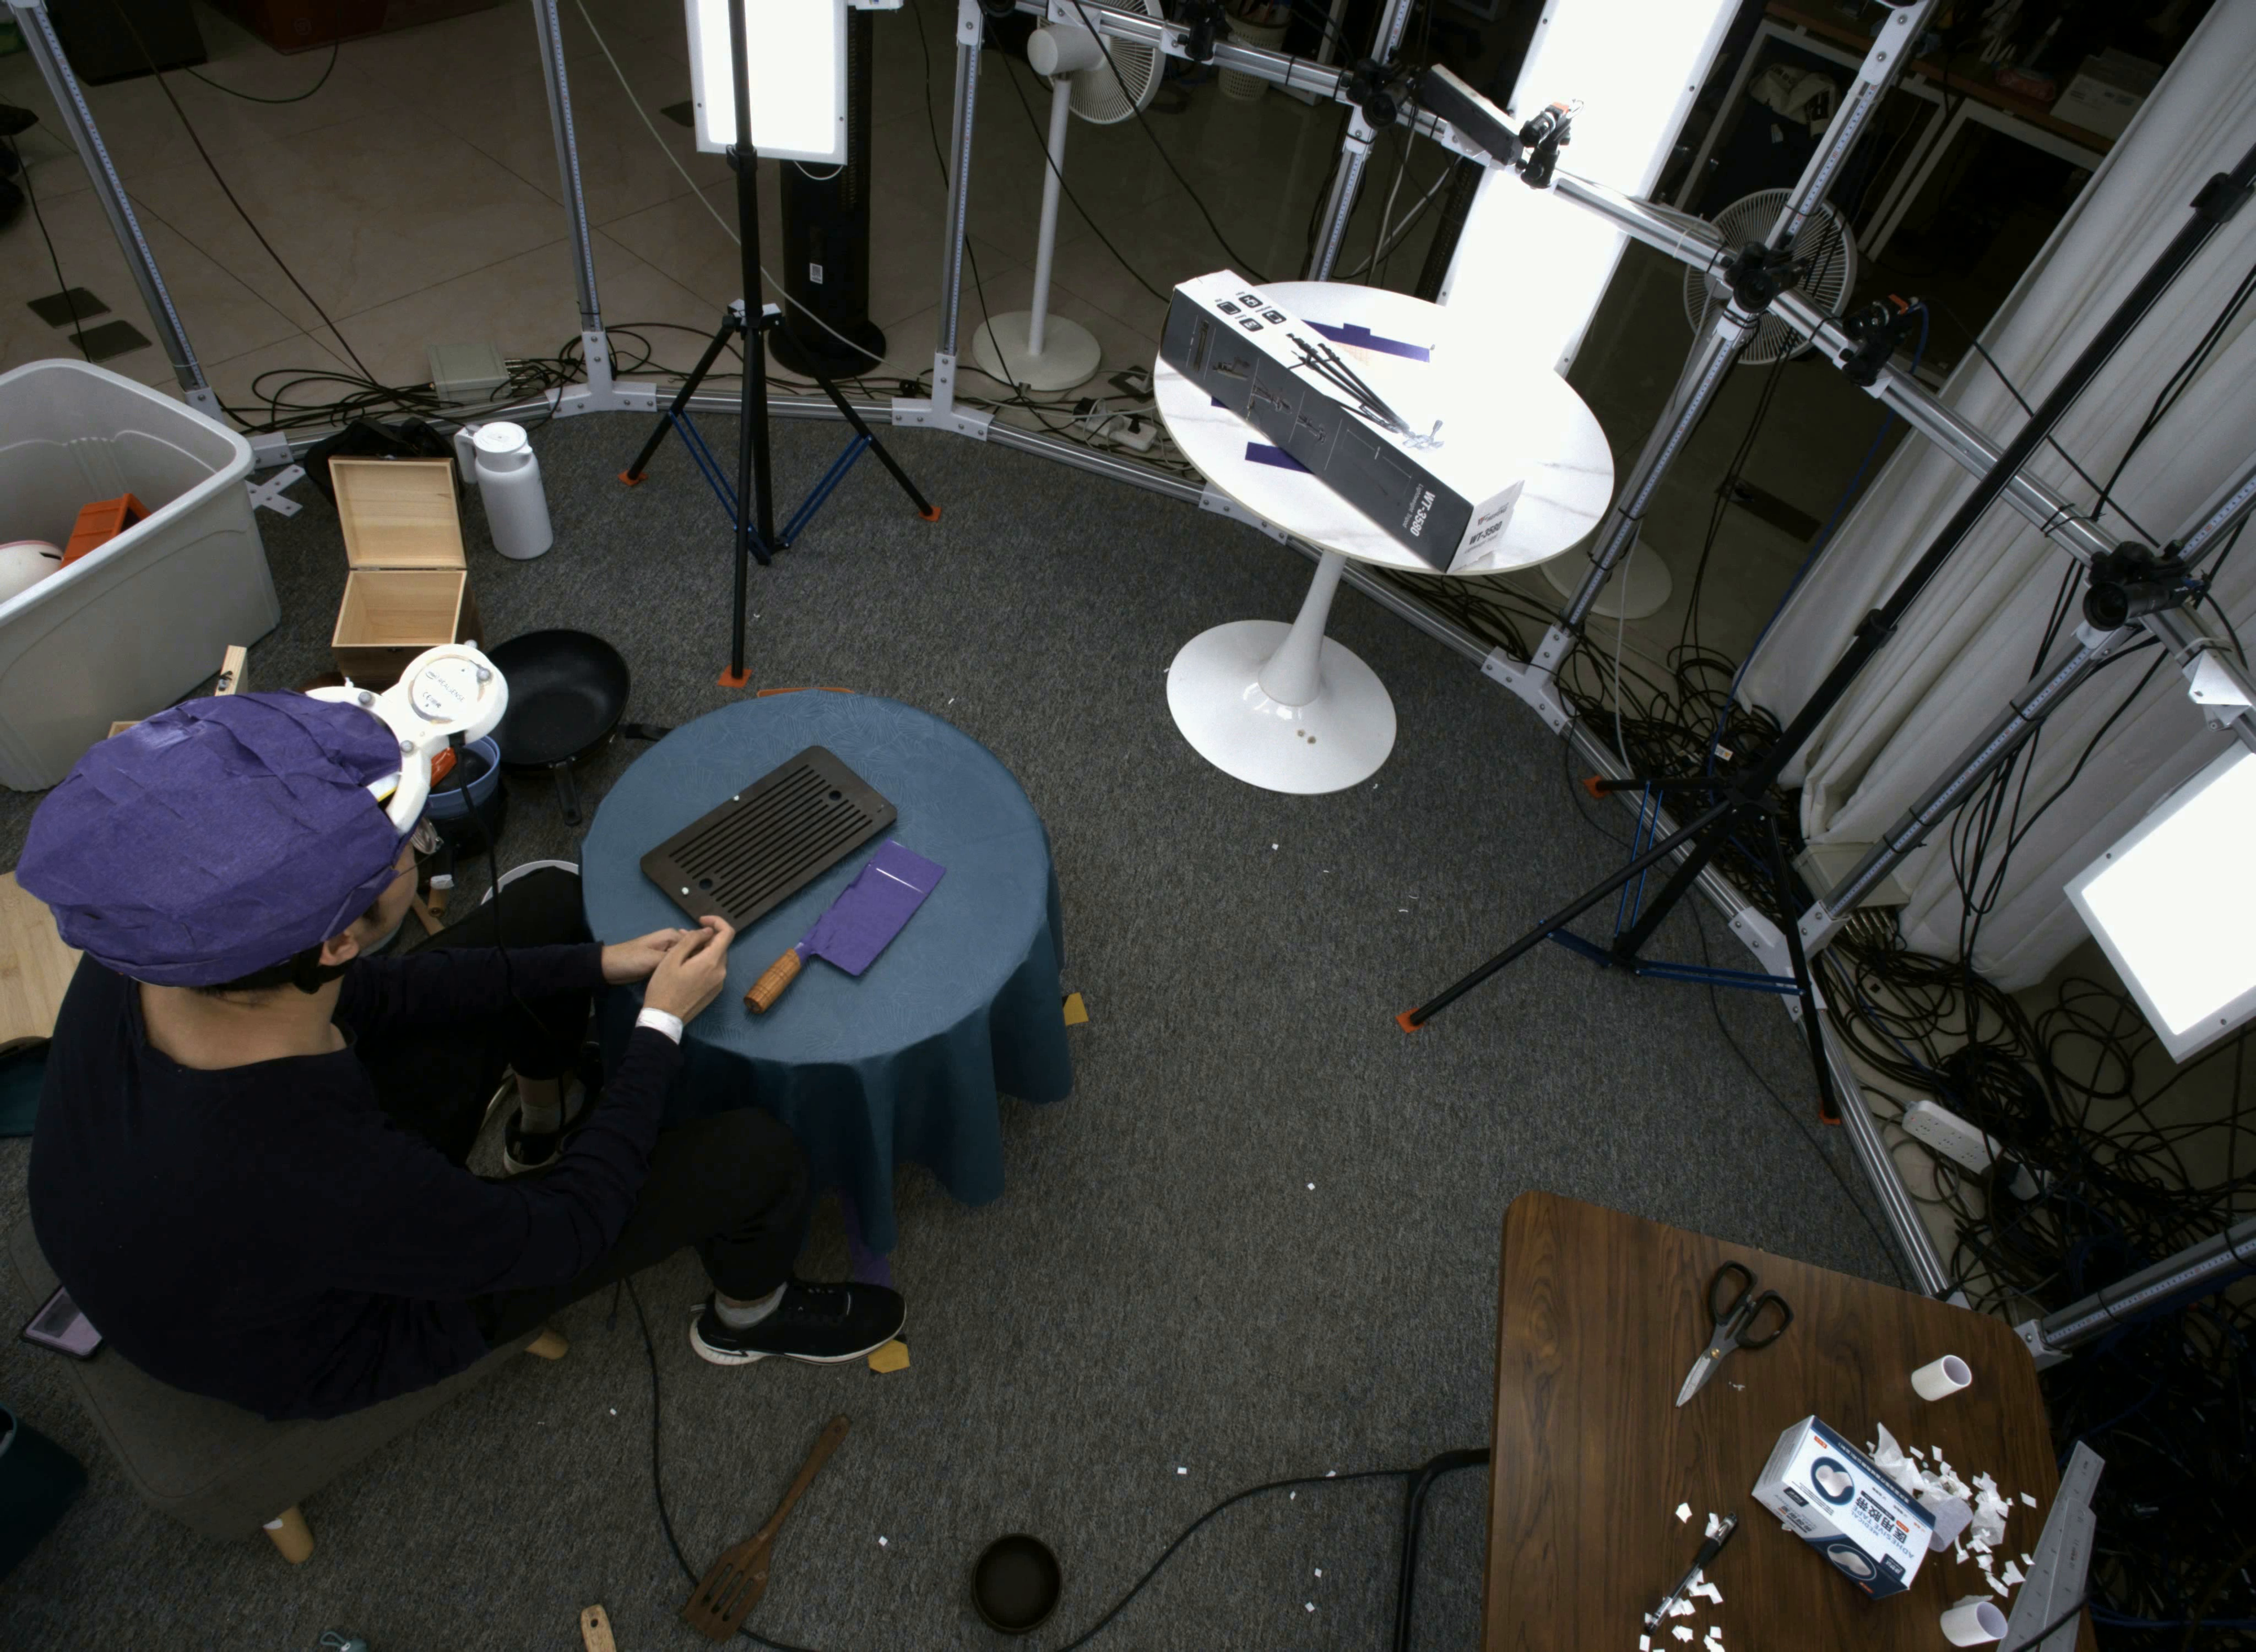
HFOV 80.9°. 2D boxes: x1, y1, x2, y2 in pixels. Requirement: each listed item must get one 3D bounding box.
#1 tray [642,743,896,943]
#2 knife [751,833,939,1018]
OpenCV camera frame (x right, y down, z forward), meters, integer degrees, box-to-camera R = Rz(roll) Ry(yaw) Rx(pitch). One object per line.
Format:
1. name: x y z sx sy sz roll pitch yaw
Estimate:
1. tray: -0.468 0.016 1.700 0.166 0.019 0.306 39 55 15
2. knife: -0.348 0.129 1.642 0.102 0.033 0.313 27 52 7
